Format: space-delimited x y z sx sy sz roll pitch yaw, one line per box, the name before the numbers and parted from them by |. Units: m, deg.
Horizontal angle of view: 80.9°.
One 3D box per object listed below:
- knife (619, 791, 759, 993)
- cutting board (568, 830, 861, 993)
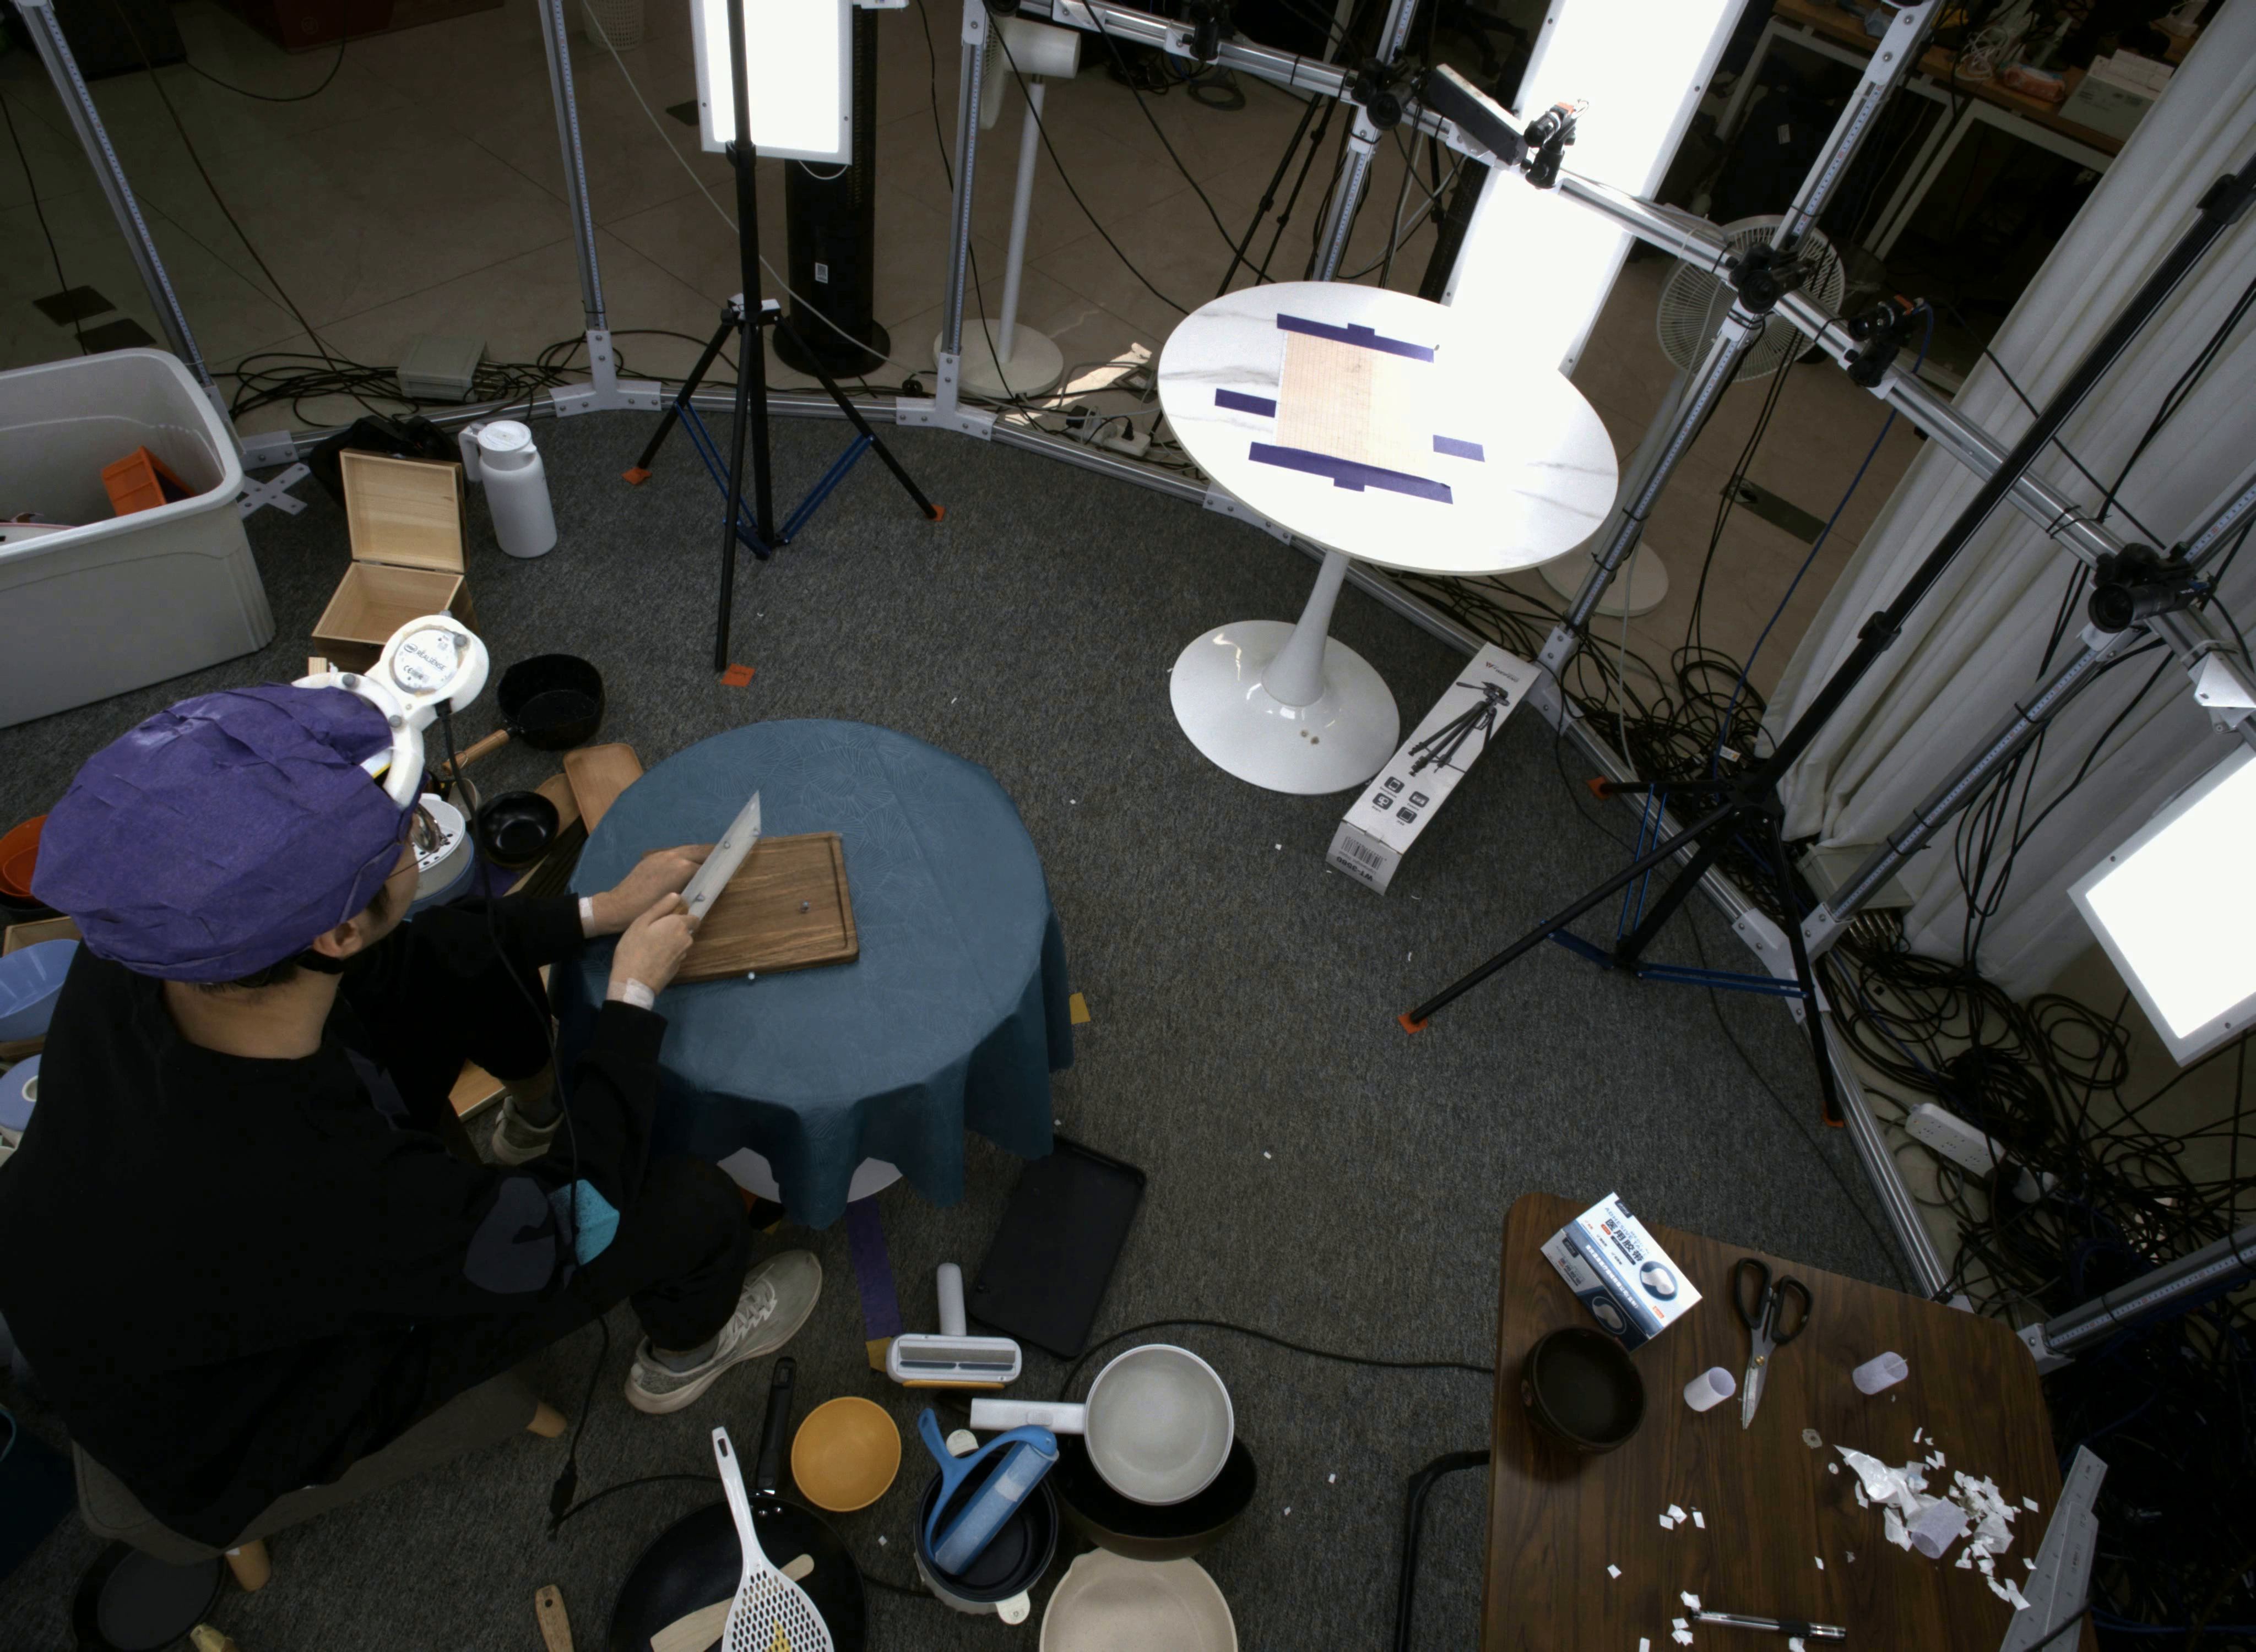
knife | -0.514 0.086 1.531 0.021 0.095 0.303 20 49 5
cutting board | -0.519 0.105 1.596 0.354 0.023 0.196 -7 56 -20
